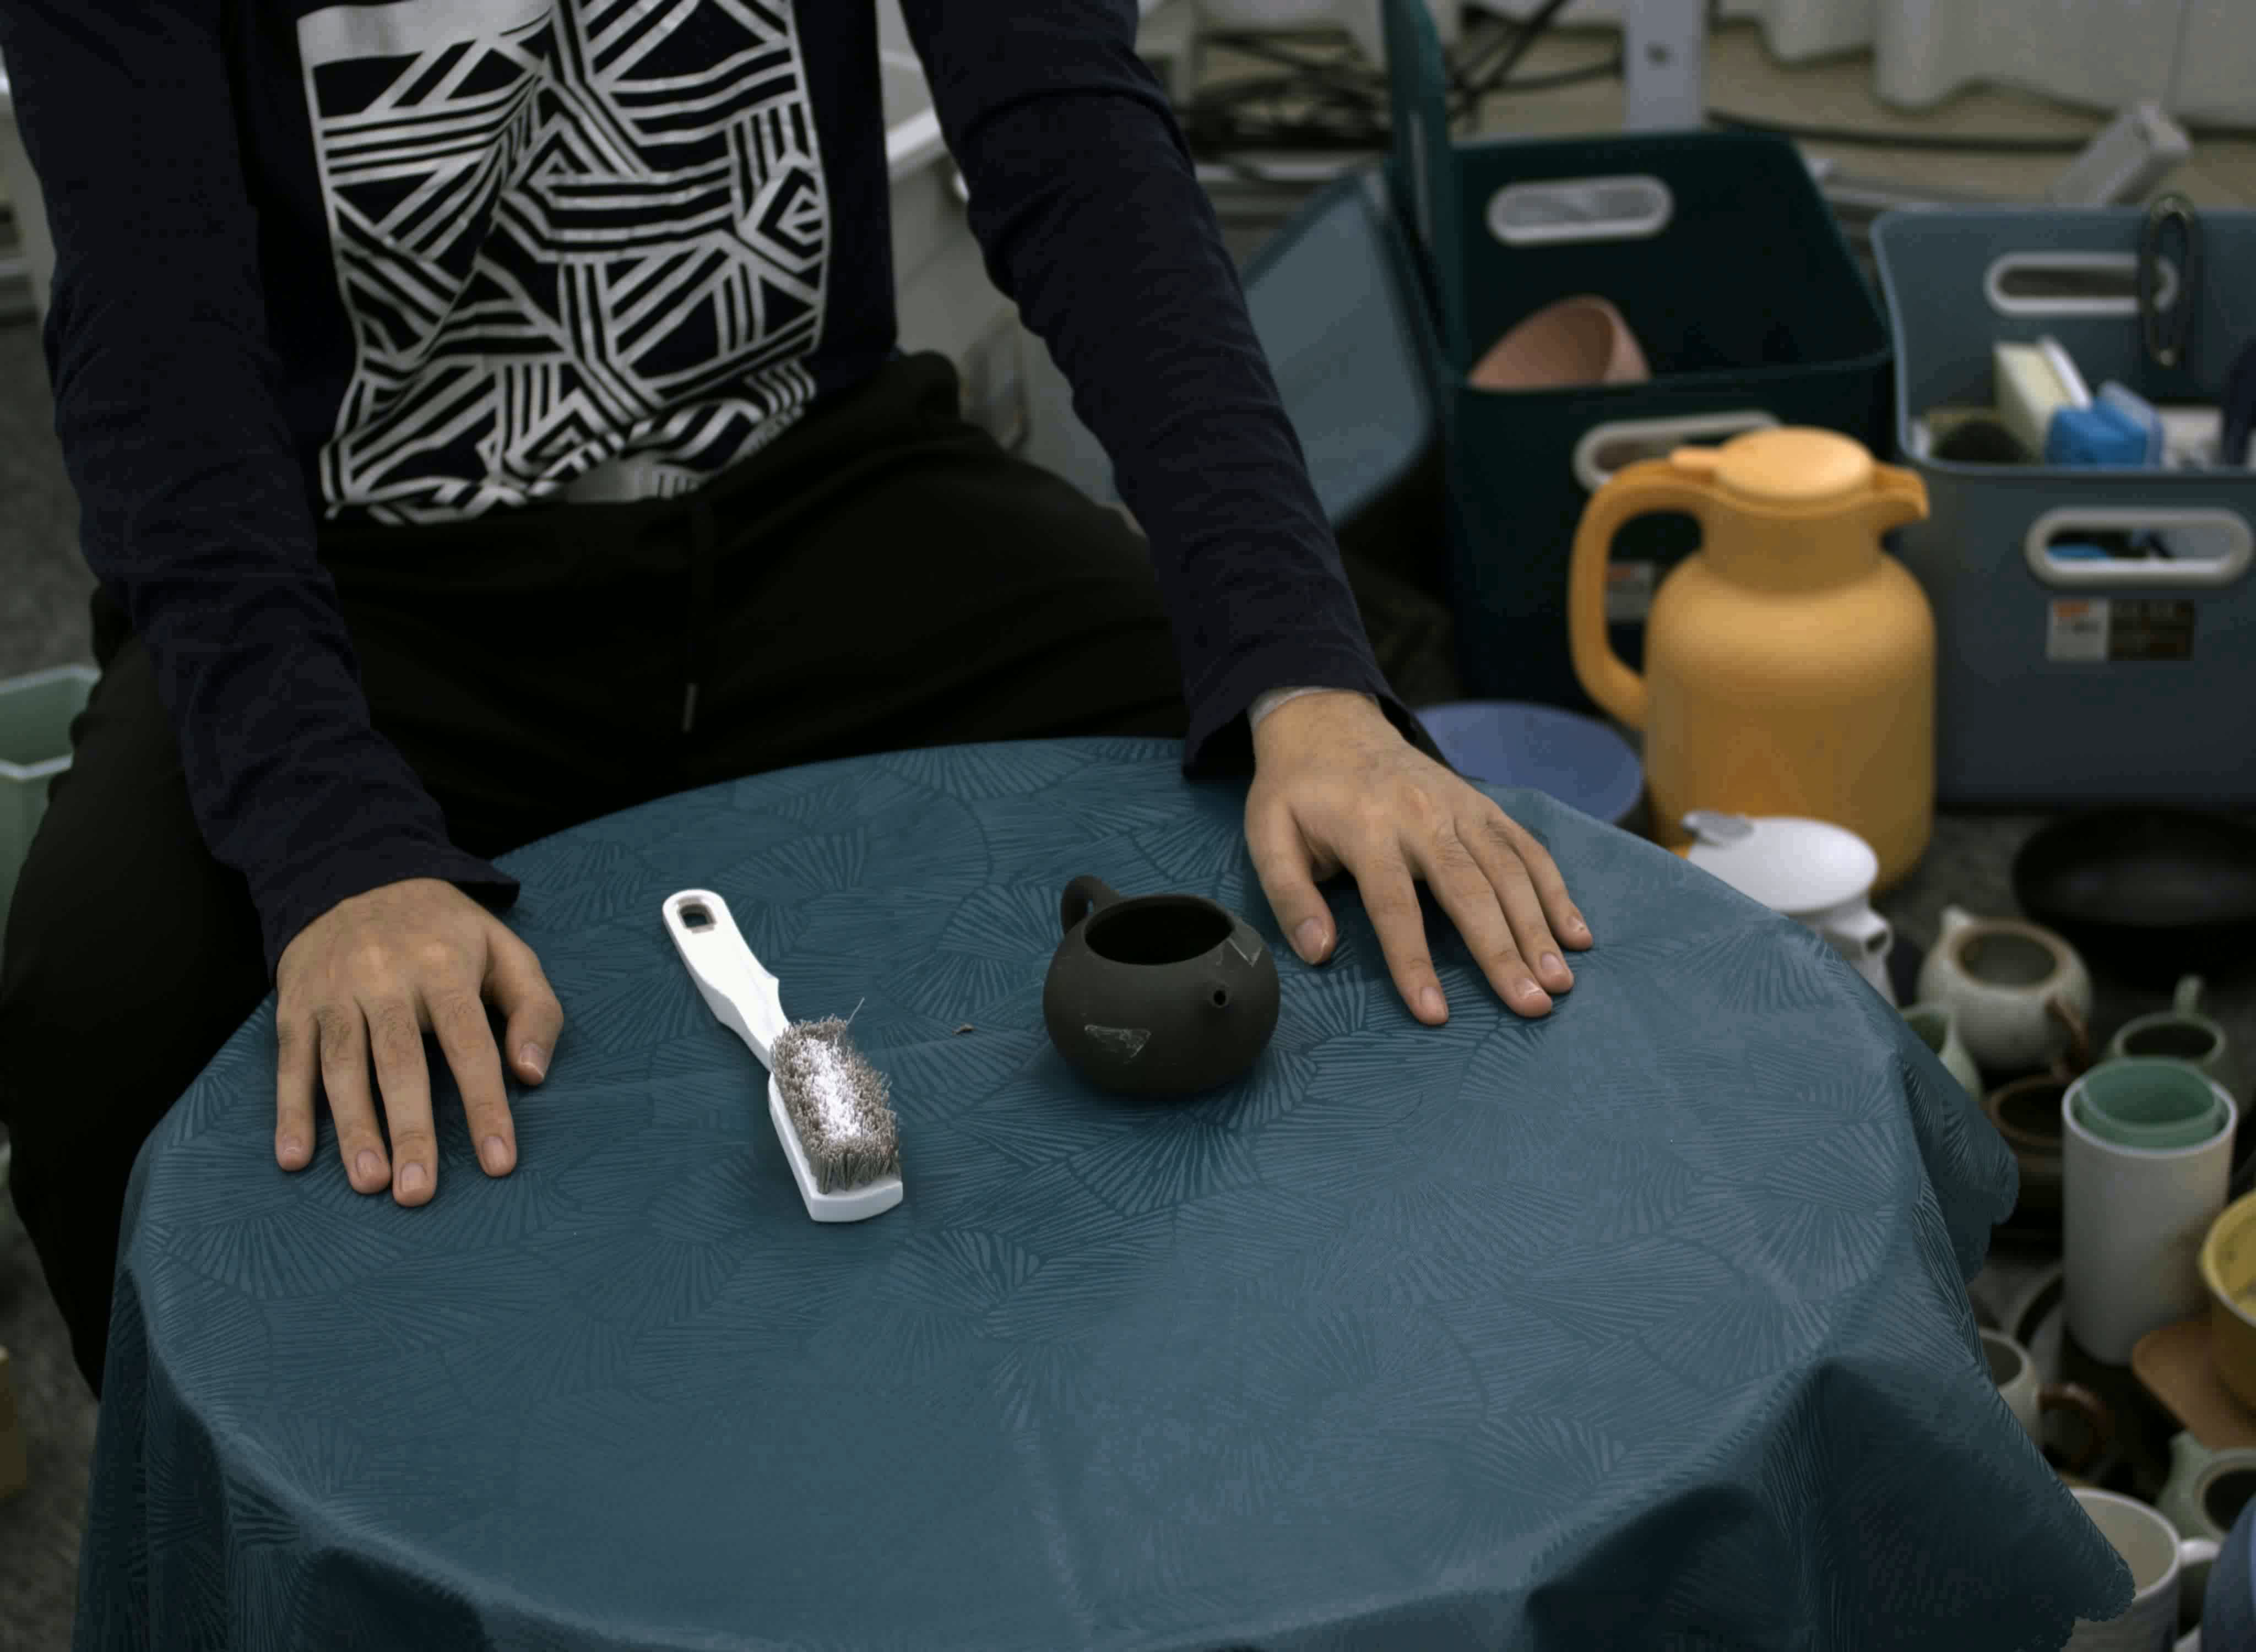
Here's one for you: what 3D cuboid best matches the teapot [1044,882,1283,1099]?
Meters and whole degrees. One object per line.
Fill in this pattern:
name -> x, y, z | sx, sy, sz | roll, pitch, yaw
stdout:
teapot -> 0.006, 0.053, 1.936 | 0.083, 0.052, 0.115 | -16, 30, -23

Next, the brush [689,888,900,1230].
brush -> -0.121, 0.062, 1.934 | 0.034, 0.050, 0.246 | -13, 29, -10
